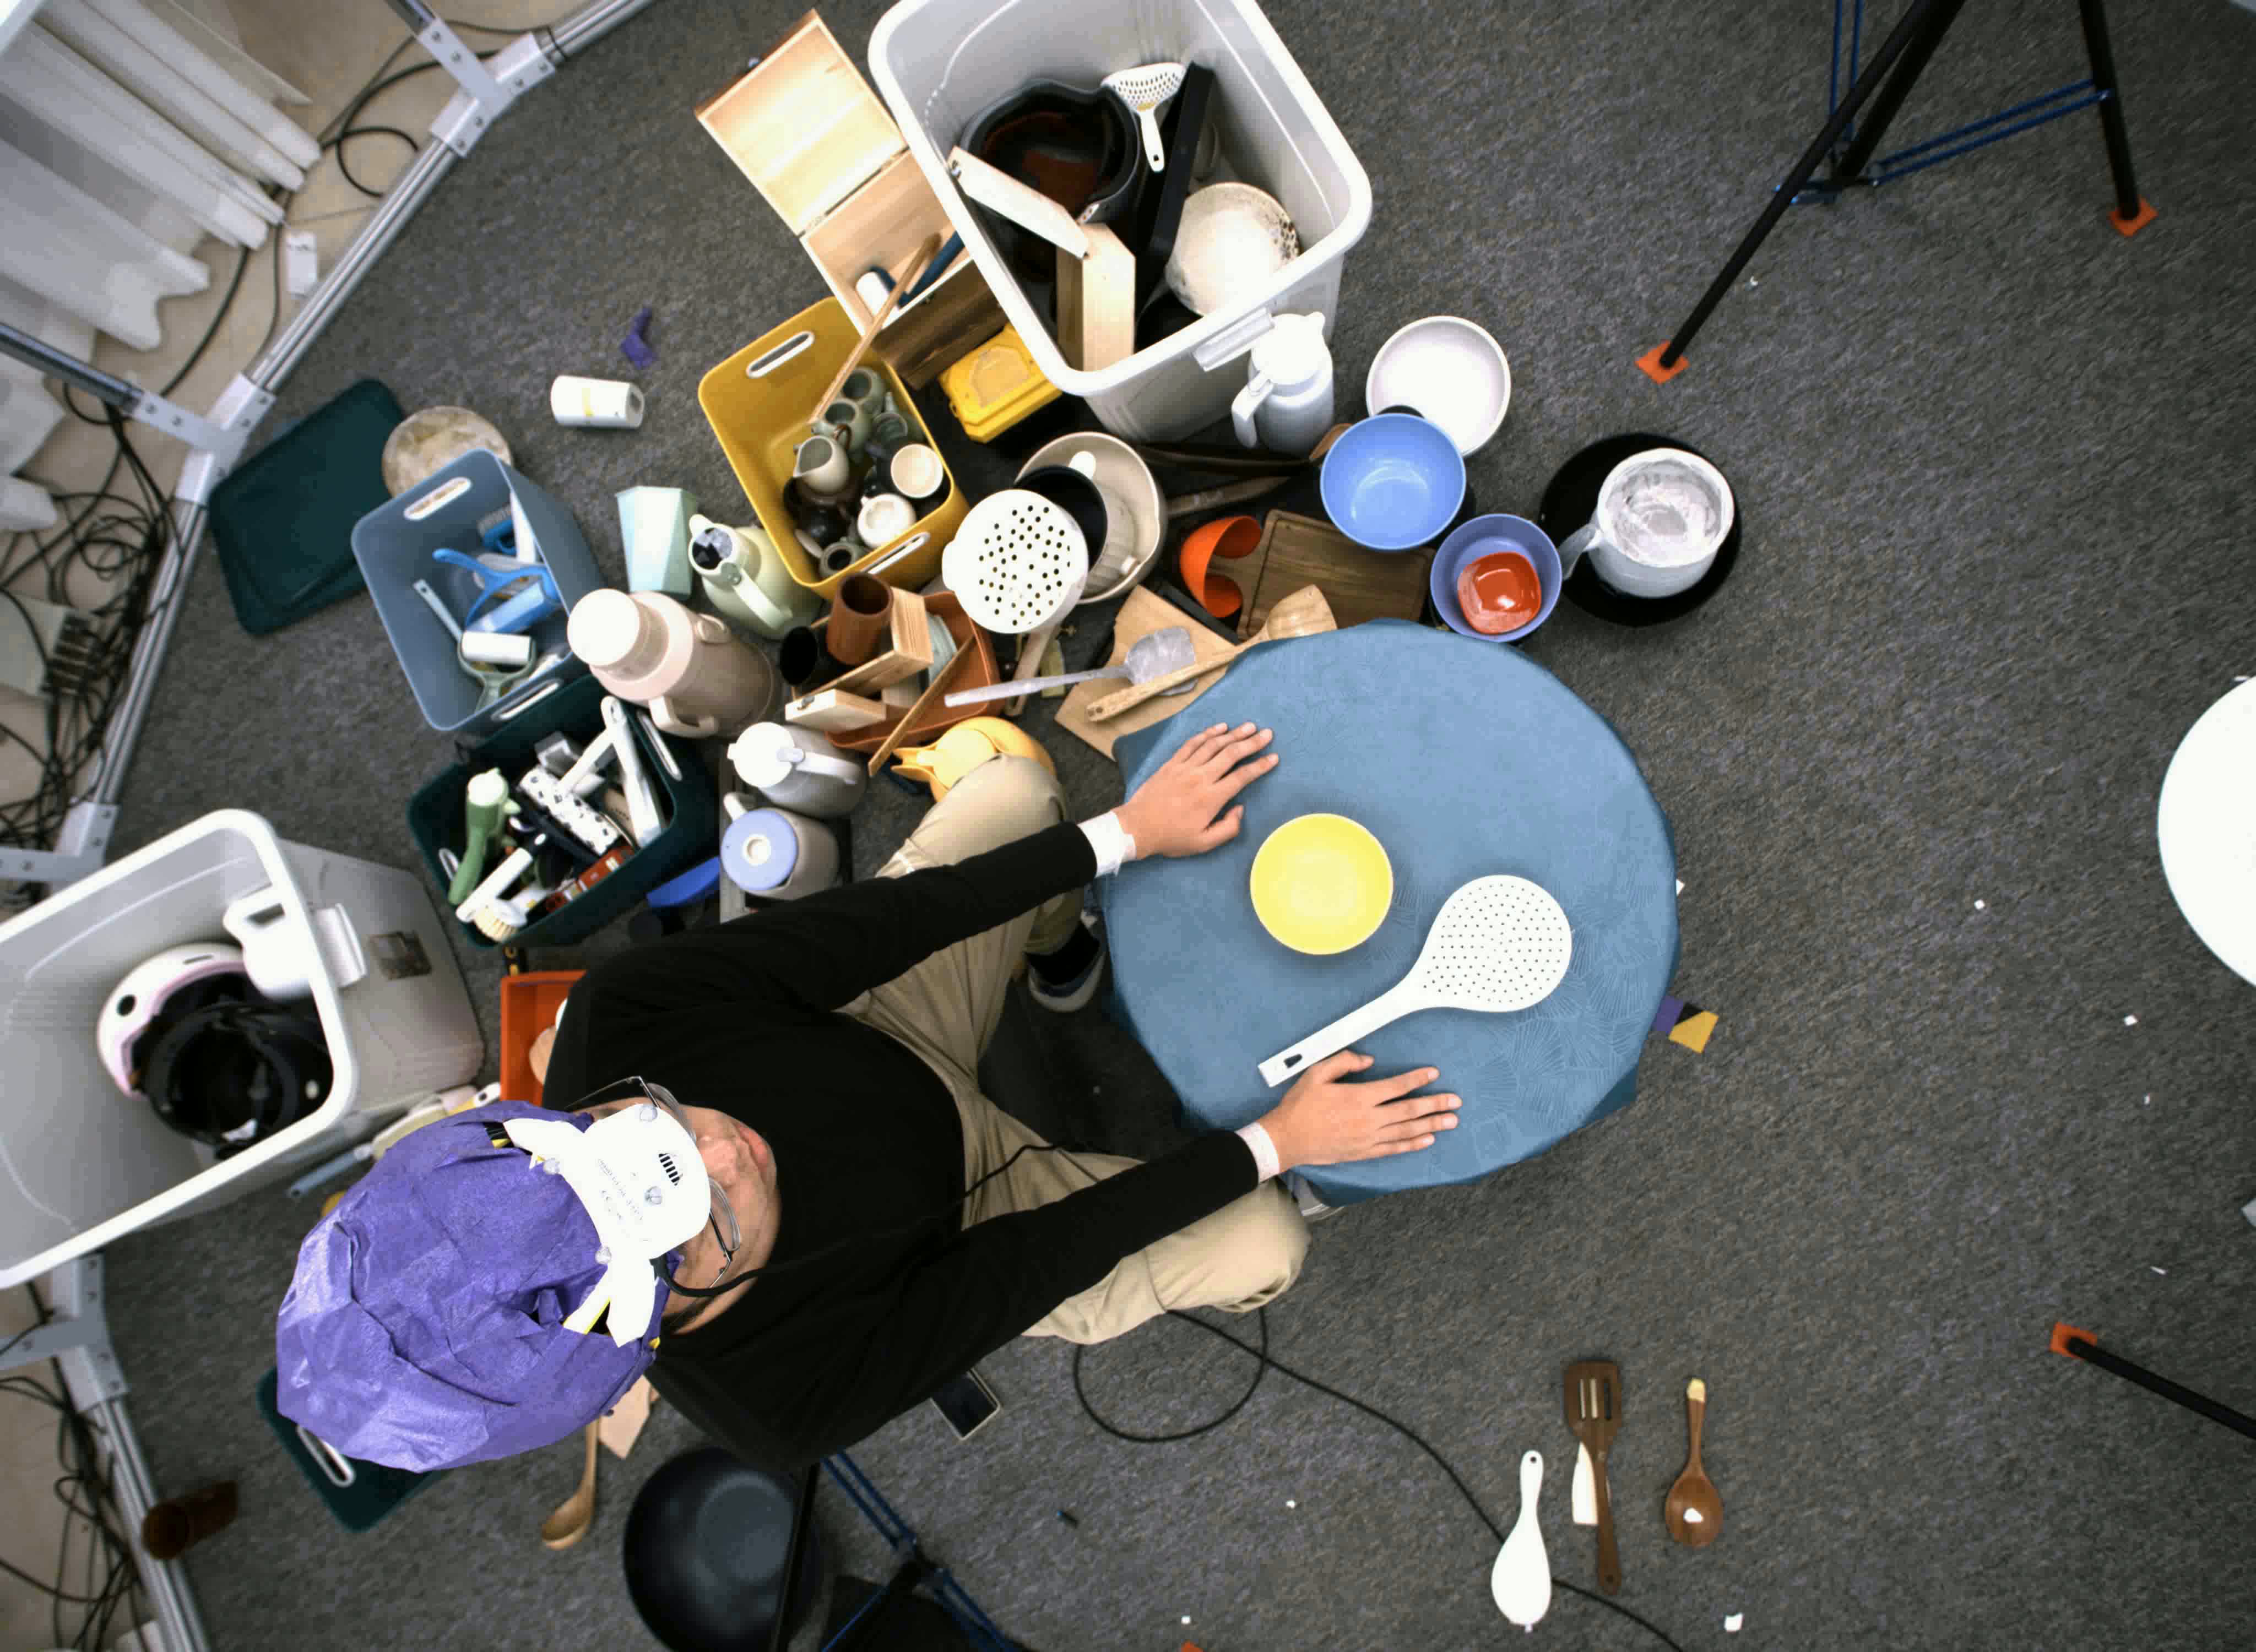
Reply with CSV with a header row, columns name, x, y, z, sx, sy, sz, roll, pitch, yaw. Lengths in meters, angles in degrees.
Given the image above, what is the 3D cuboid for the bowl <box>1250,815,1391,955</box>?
name,x,y,z,sx,sy,sz,roll,pitch,yaw
bowl,0.201,0.063,1.445,0.146,0.060,0.144,-1,84,9

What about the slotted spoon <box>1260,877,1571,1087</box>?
name,x,y,z,sx,sy,sz,roll,pitch,yaw
slotted spoon,0.291,0.174,1.427,0.352,0.046,0.135,-31,81,8
